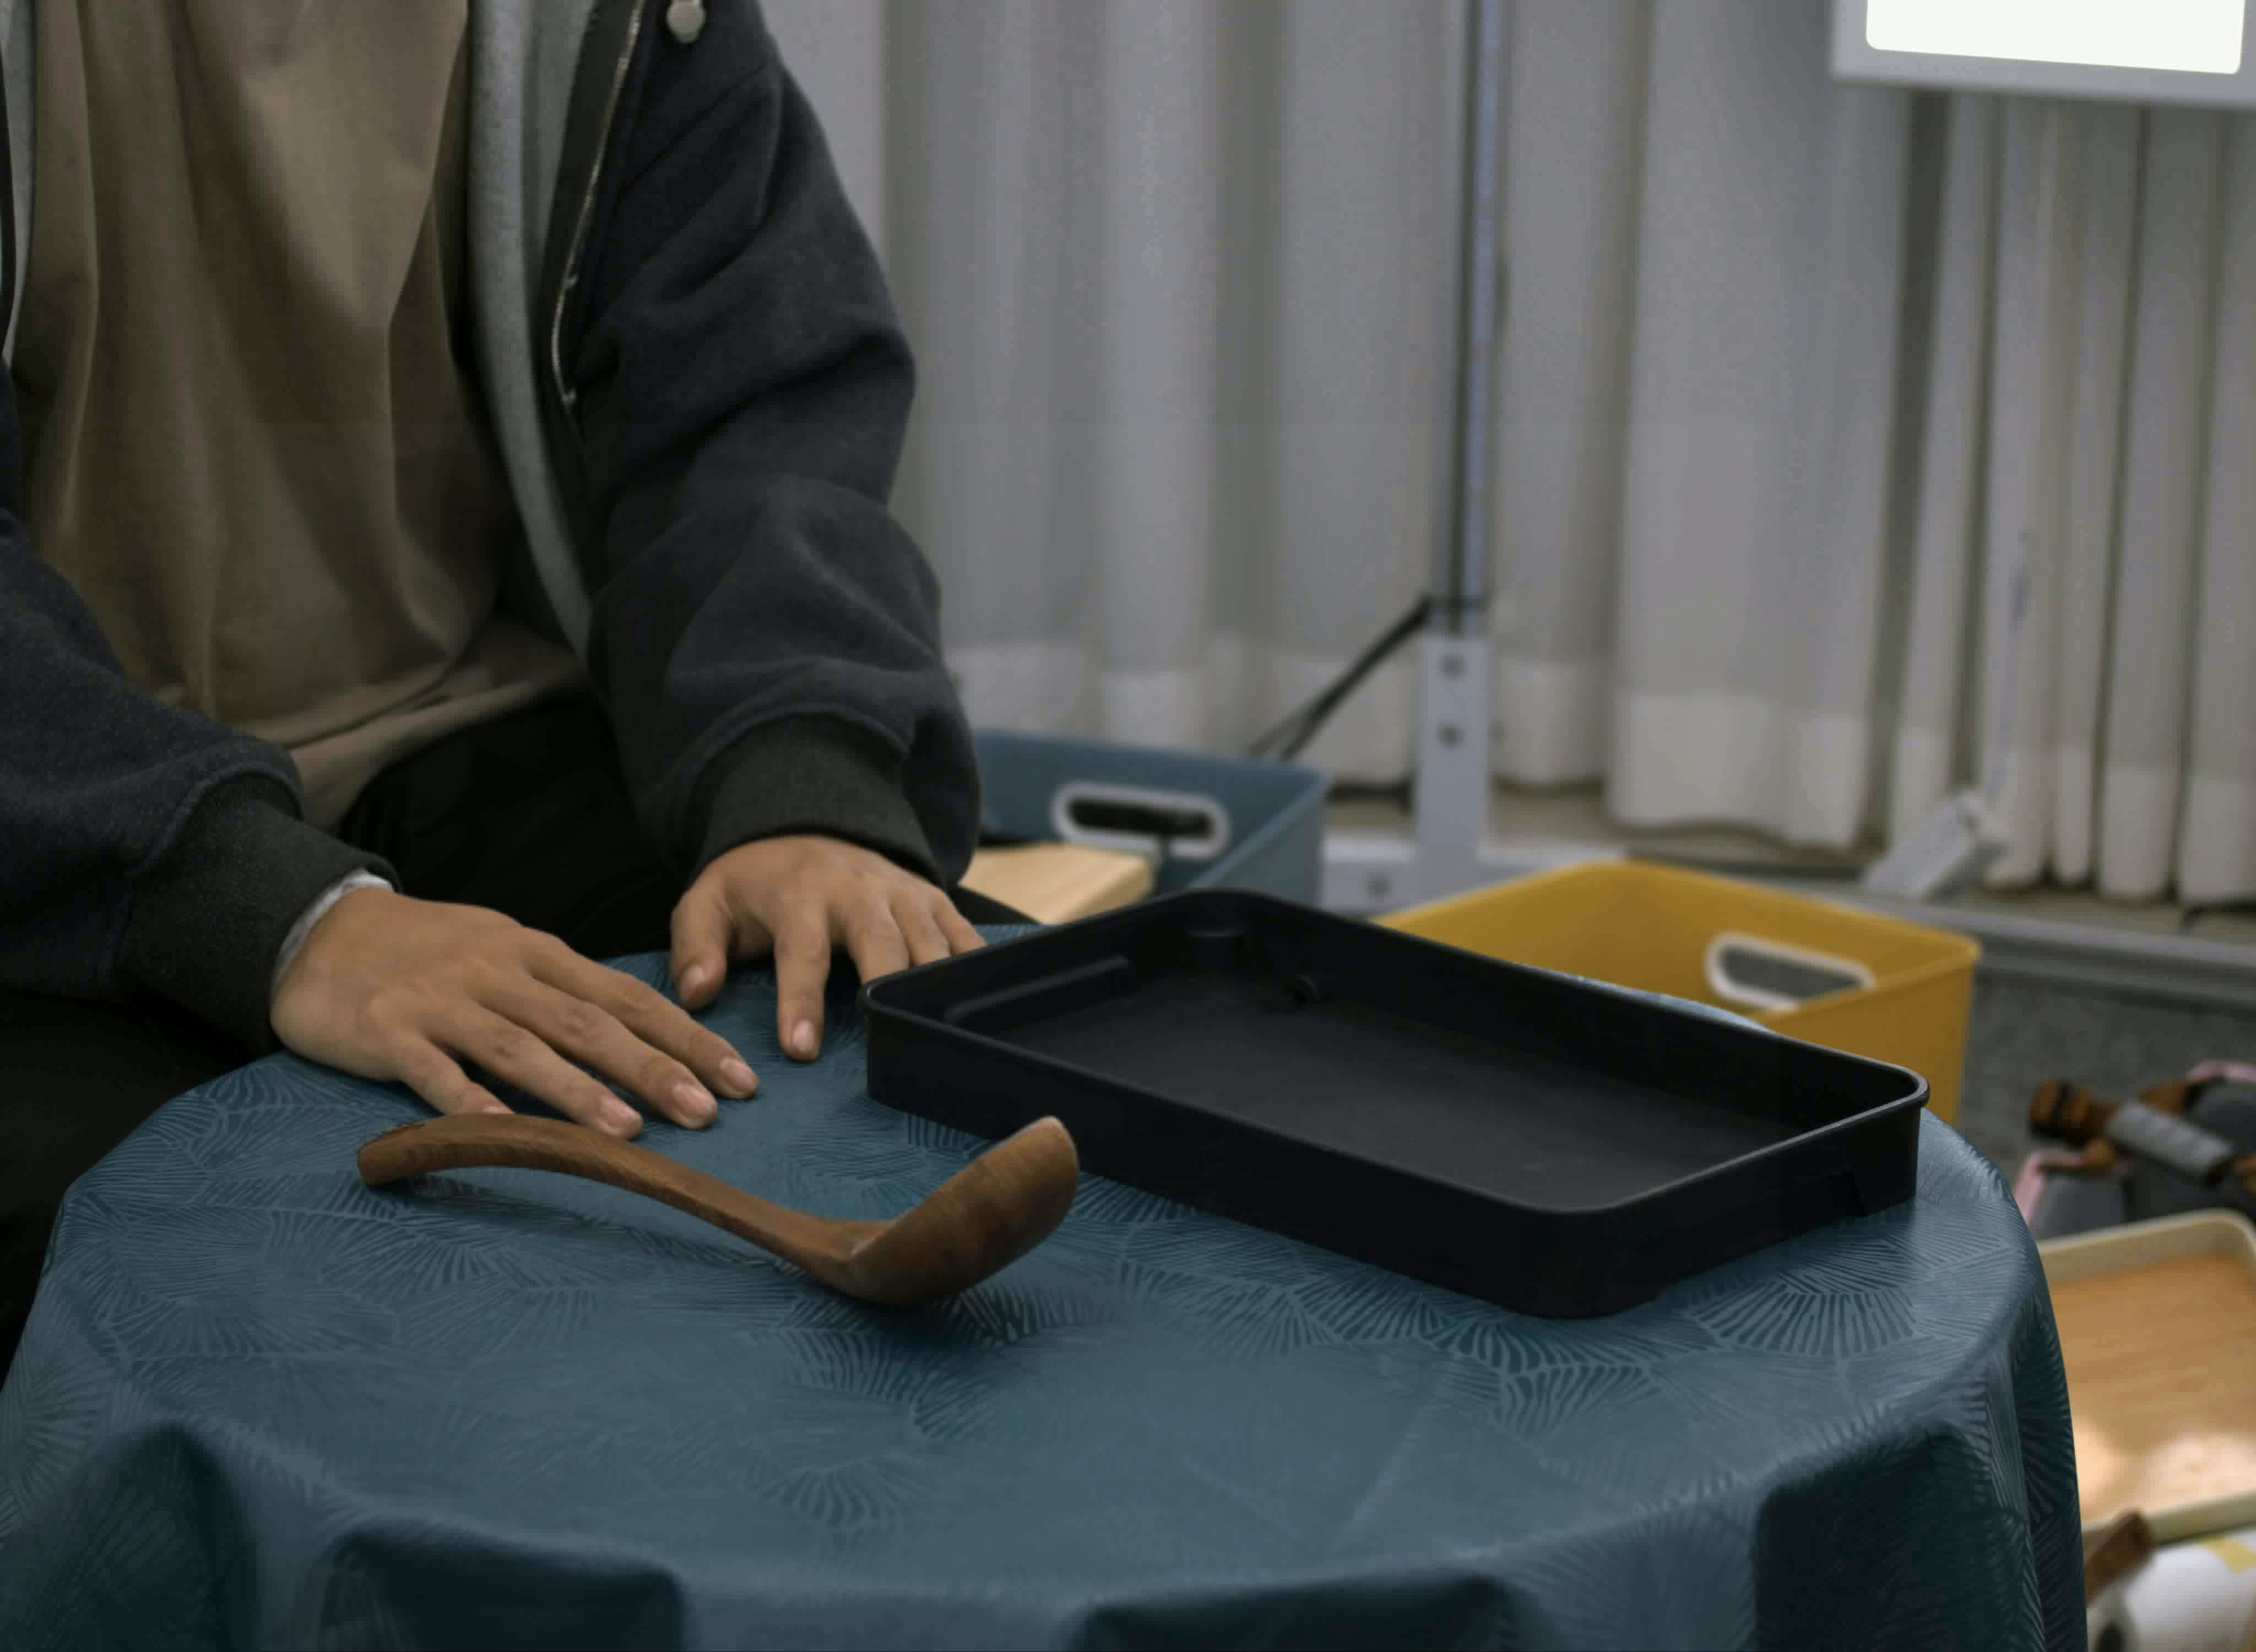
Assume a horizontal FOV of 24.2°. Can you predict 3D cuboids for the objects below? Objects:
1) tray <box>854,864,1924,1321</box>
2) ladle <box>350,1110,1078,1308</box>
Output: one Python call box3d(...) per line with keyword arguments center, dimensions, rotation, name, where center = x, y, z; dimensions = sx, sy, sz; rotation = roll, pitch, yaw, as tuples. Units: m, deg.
box3d(center=(0.078, 0.079, 1.668), dimensions=(0.313, 0.037, 0.185), rotation=(17, 23, 41), name="tray")
box3d(center=(-0.129, 0.096, 1.555), dimensions=(0.257, 0.065, 0.077), rotation=(10, 19, 31), name="ladle")
